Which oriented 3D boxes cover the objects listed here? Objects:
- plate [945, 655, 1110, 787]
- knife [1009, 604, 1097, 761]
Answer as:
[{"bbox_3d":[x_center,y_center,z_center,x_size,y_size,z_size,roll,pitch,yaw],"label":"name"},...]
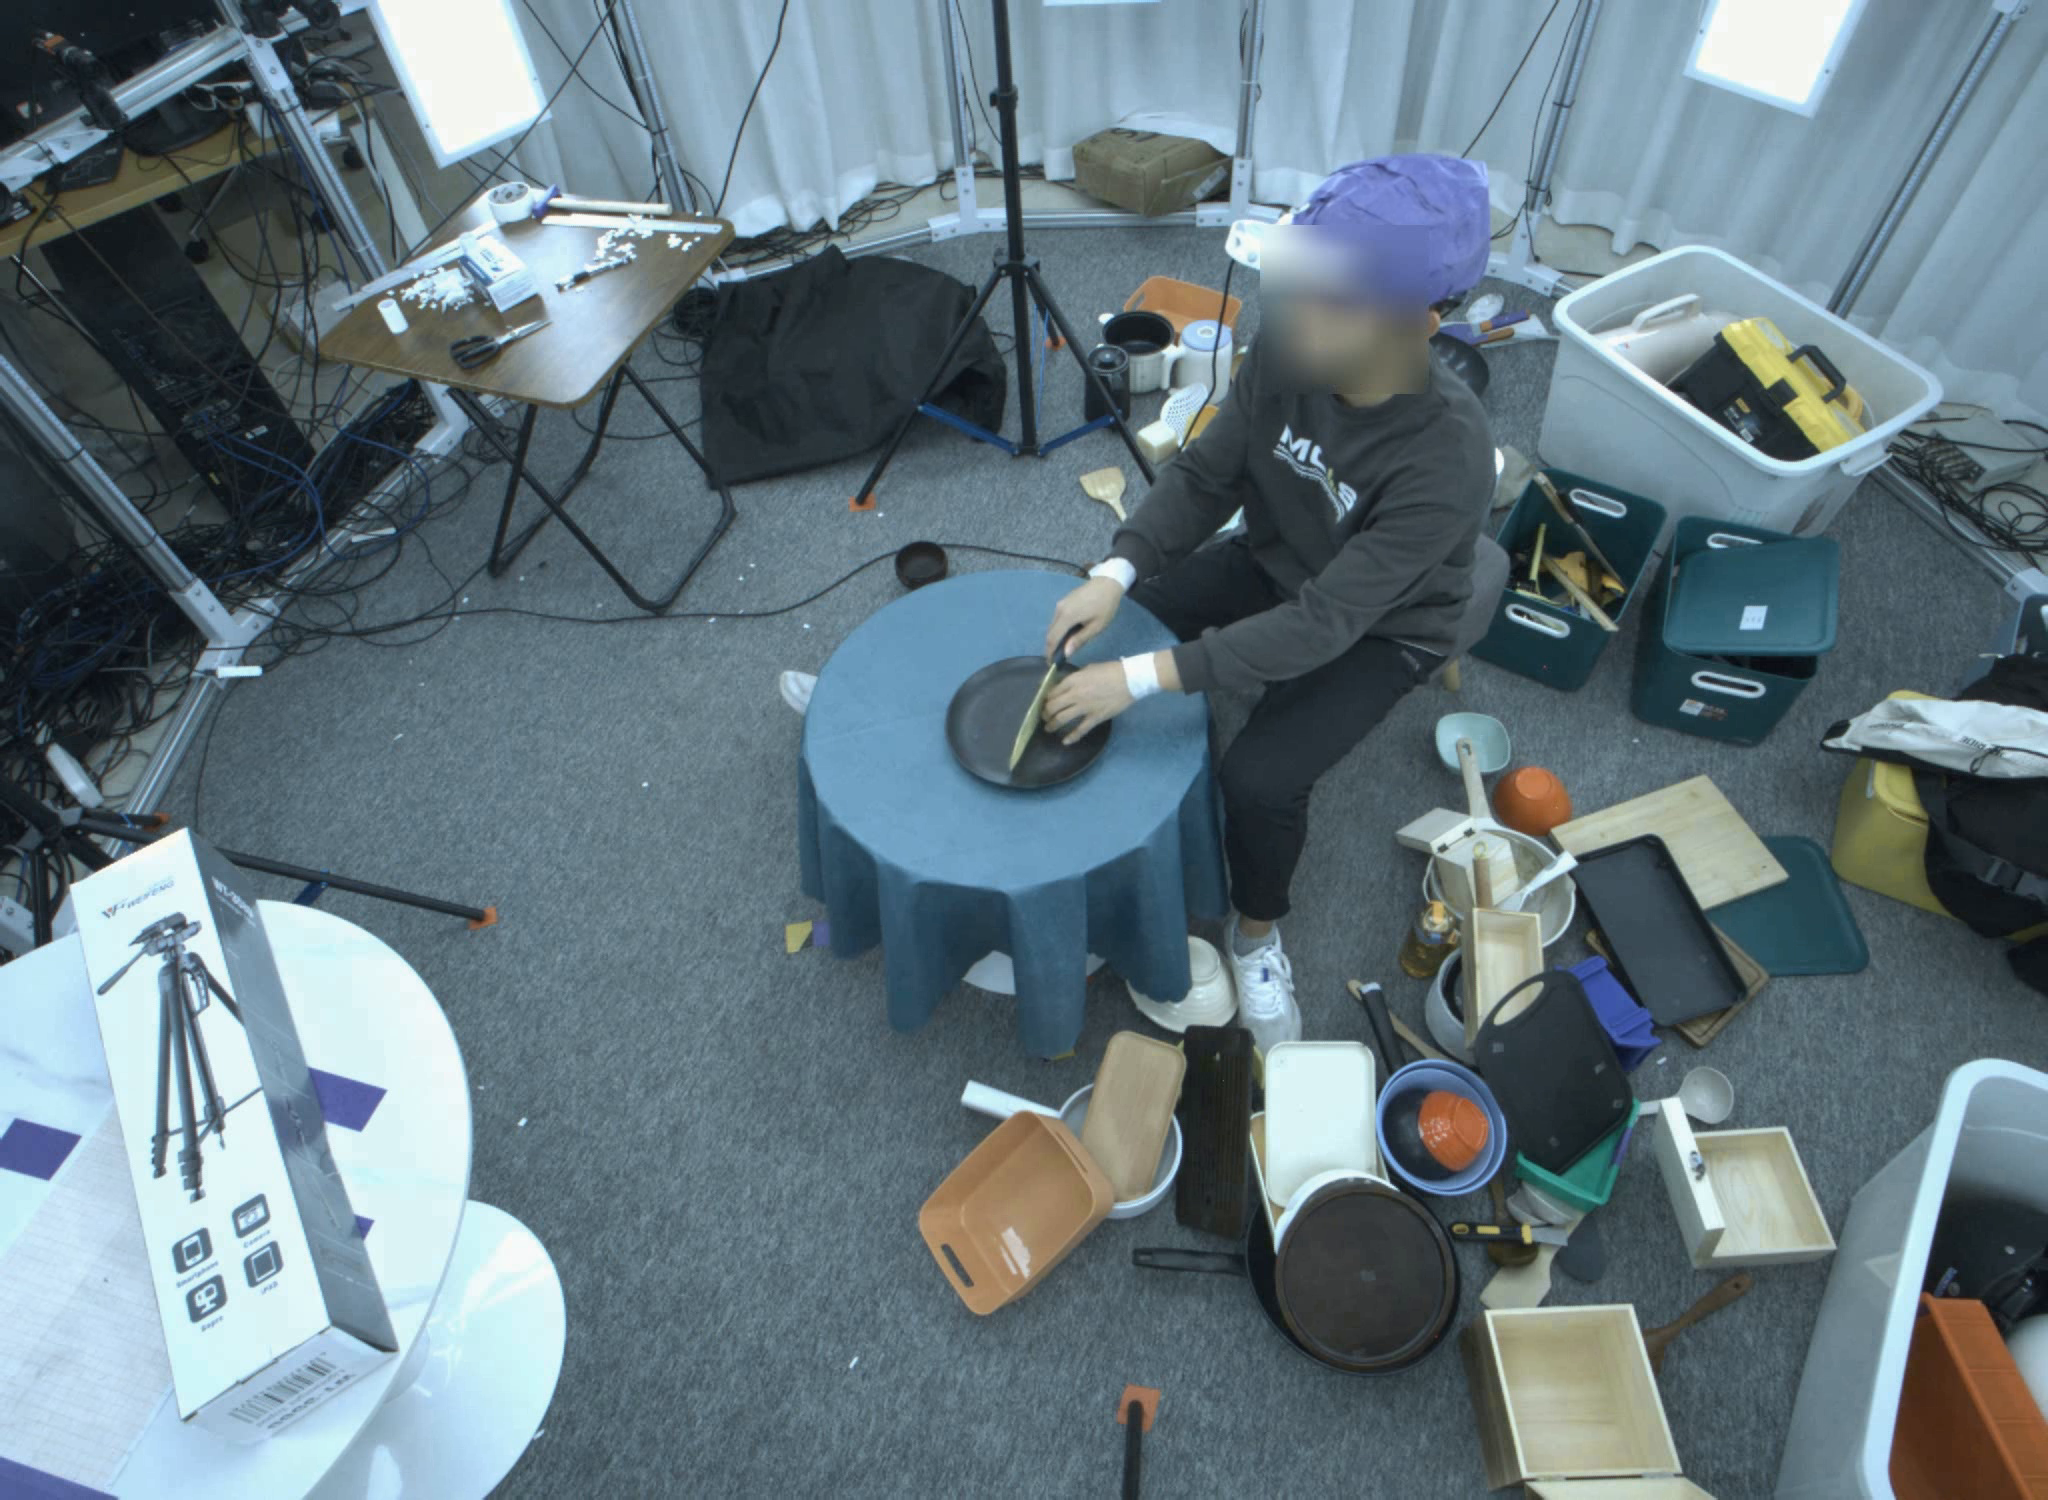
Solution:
[{"bbox_3d":[0.005,-0.041,1.810,0.244,0.023,0.242,0,55,1],"label":"plate"},{"bbox_3d":[0.040,-0.099,1.802,0.027,0.081,0.289,23,63,10],"label":"knife"}]
